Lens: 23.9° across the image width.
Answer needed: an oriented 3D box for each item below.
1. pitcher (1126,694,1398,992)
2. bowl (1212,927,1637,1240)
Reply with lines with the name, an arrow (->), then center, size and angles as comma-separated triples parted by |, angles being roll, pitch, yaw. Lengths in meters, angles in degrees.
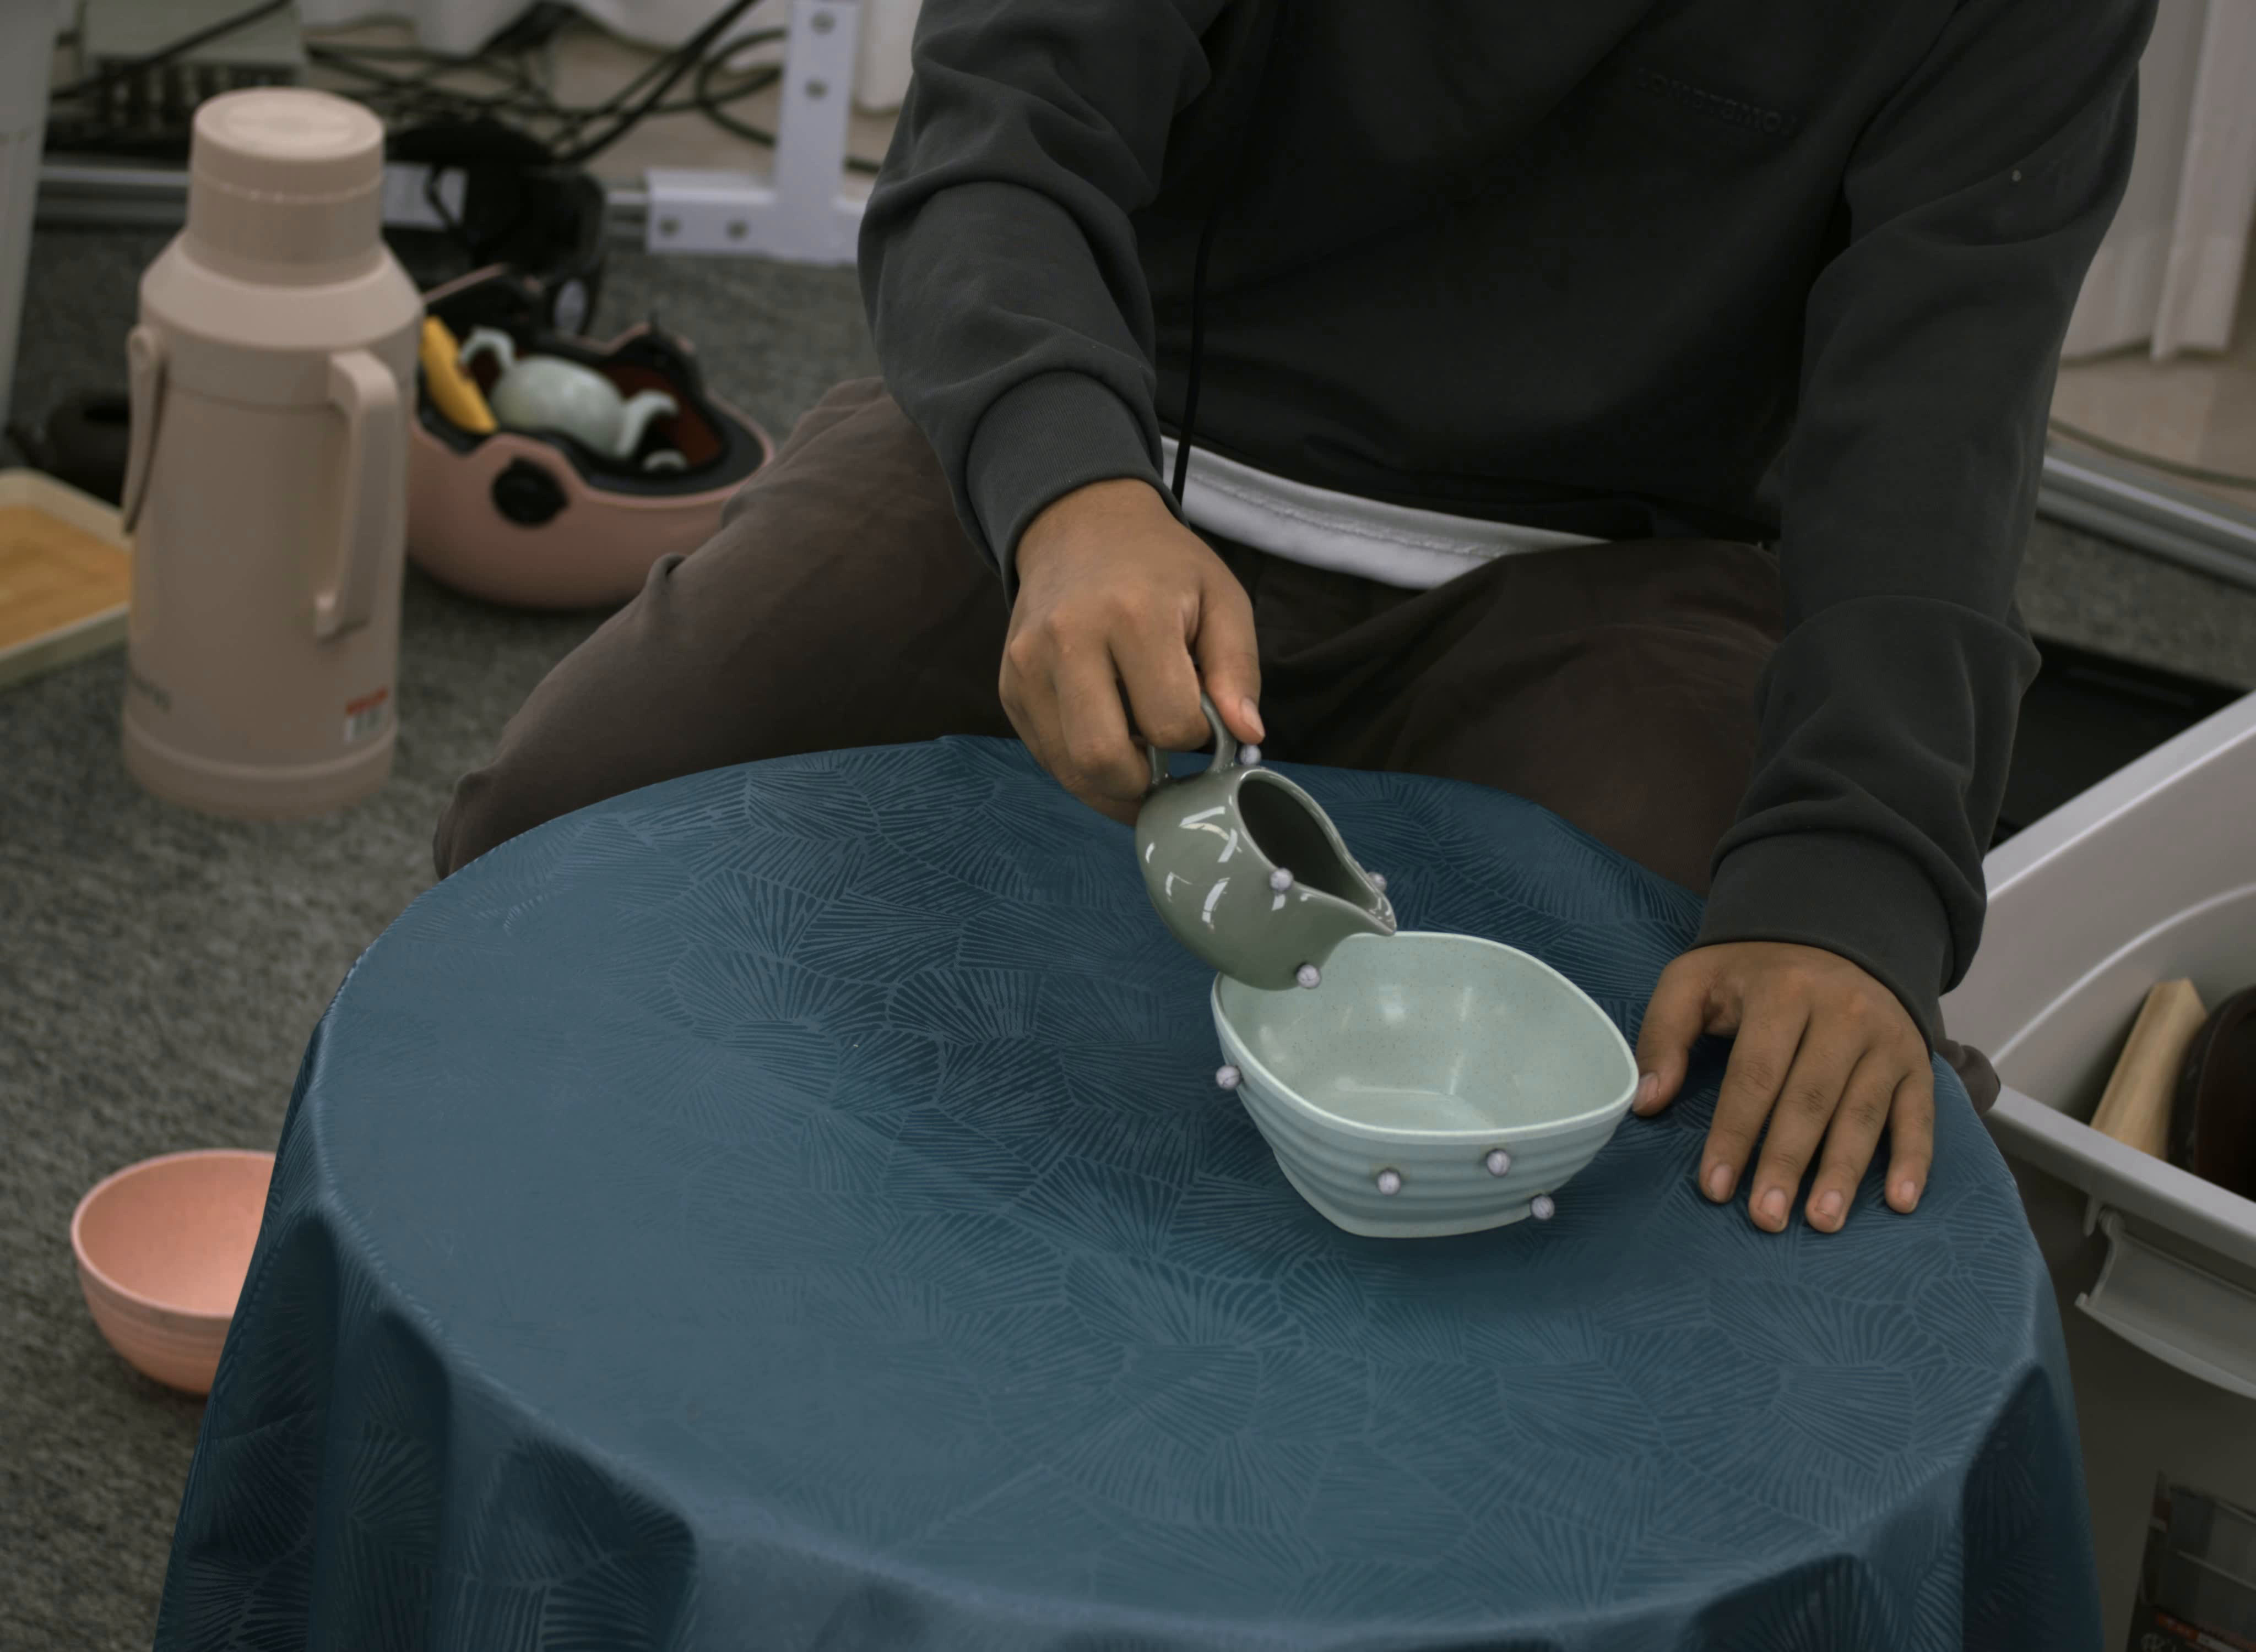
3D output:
pitcher -> 0.038, 0.009, 1.817 | 0.113, 0.056, 0.084 | 49, 29, 5
bowl -> 0.098, 0.094, 1.826 | 0.151, 0.058, 0.152 | 5, 28, -3
